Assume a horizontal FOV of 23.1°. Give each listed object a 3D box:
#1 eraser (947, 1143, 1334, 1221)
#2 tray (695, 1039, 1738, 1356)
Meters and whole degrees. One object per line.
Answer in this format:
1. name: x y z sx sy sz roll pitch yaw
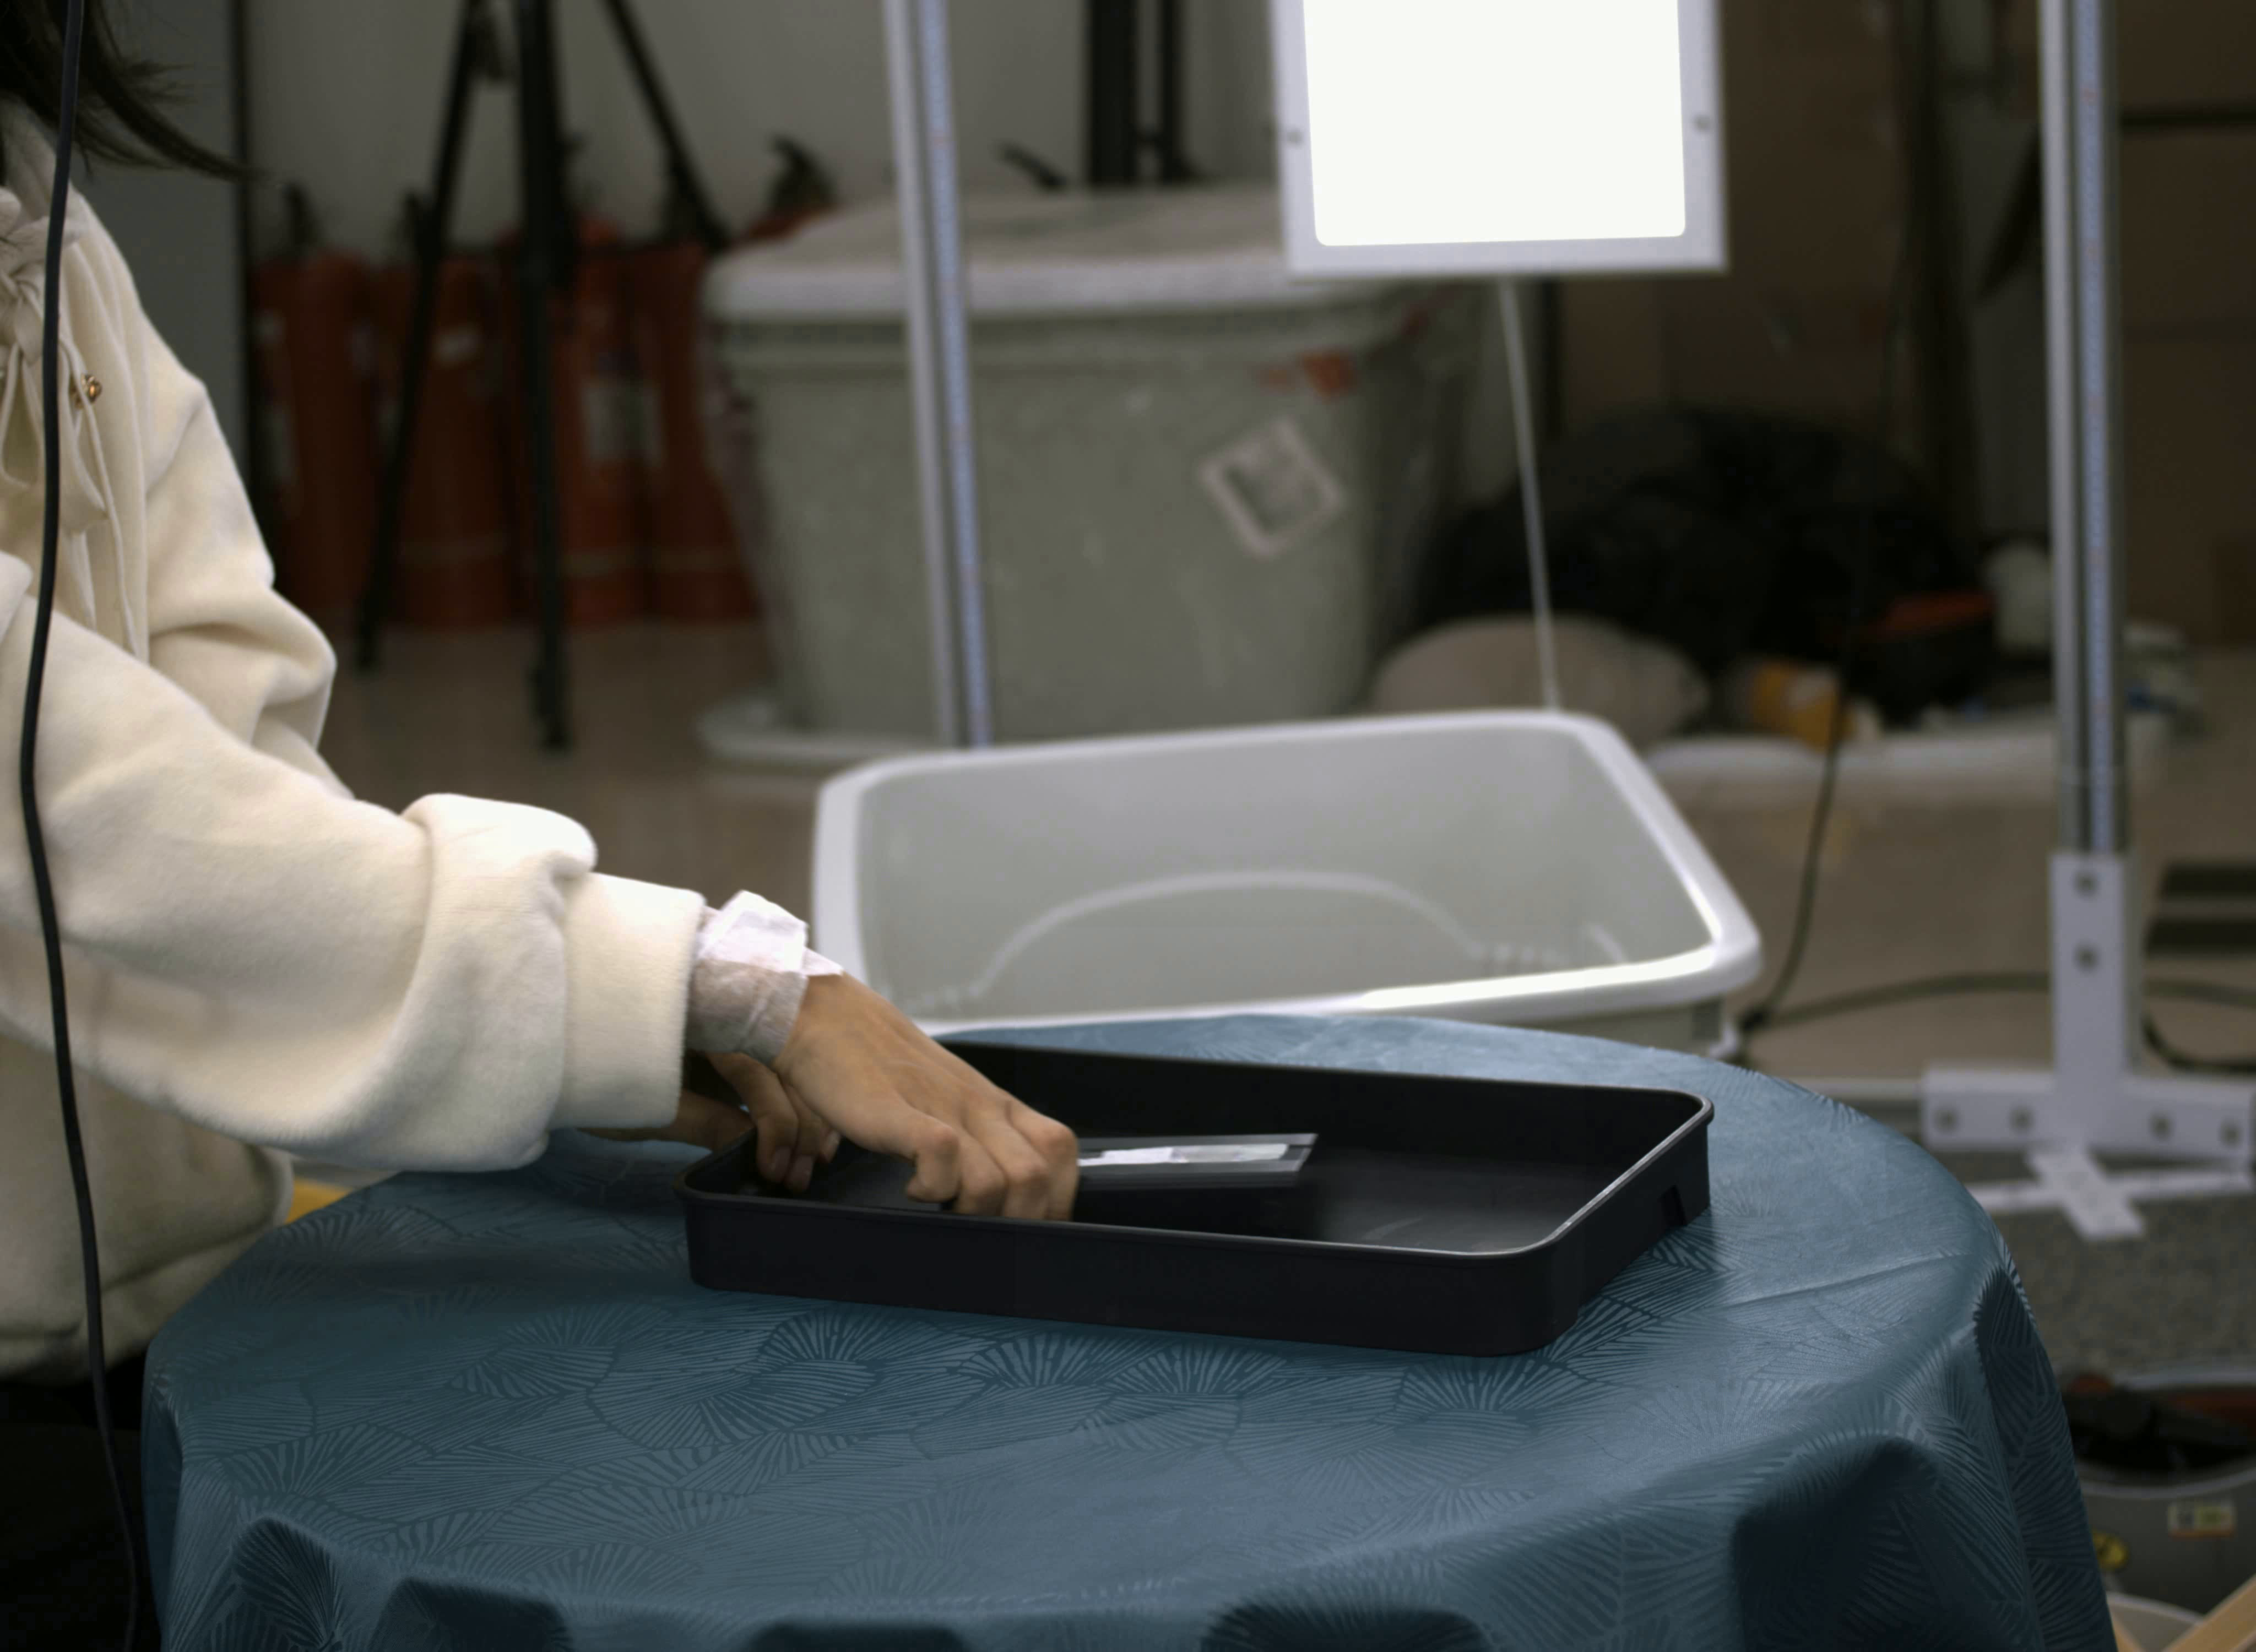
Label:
1. eraser: 0.006 0.125 1.830 0.126 0.030 0.053 -2 10 14
2. tray: 0.031 0.120 1.833 0.323 0.037 0.180 2 15 25
